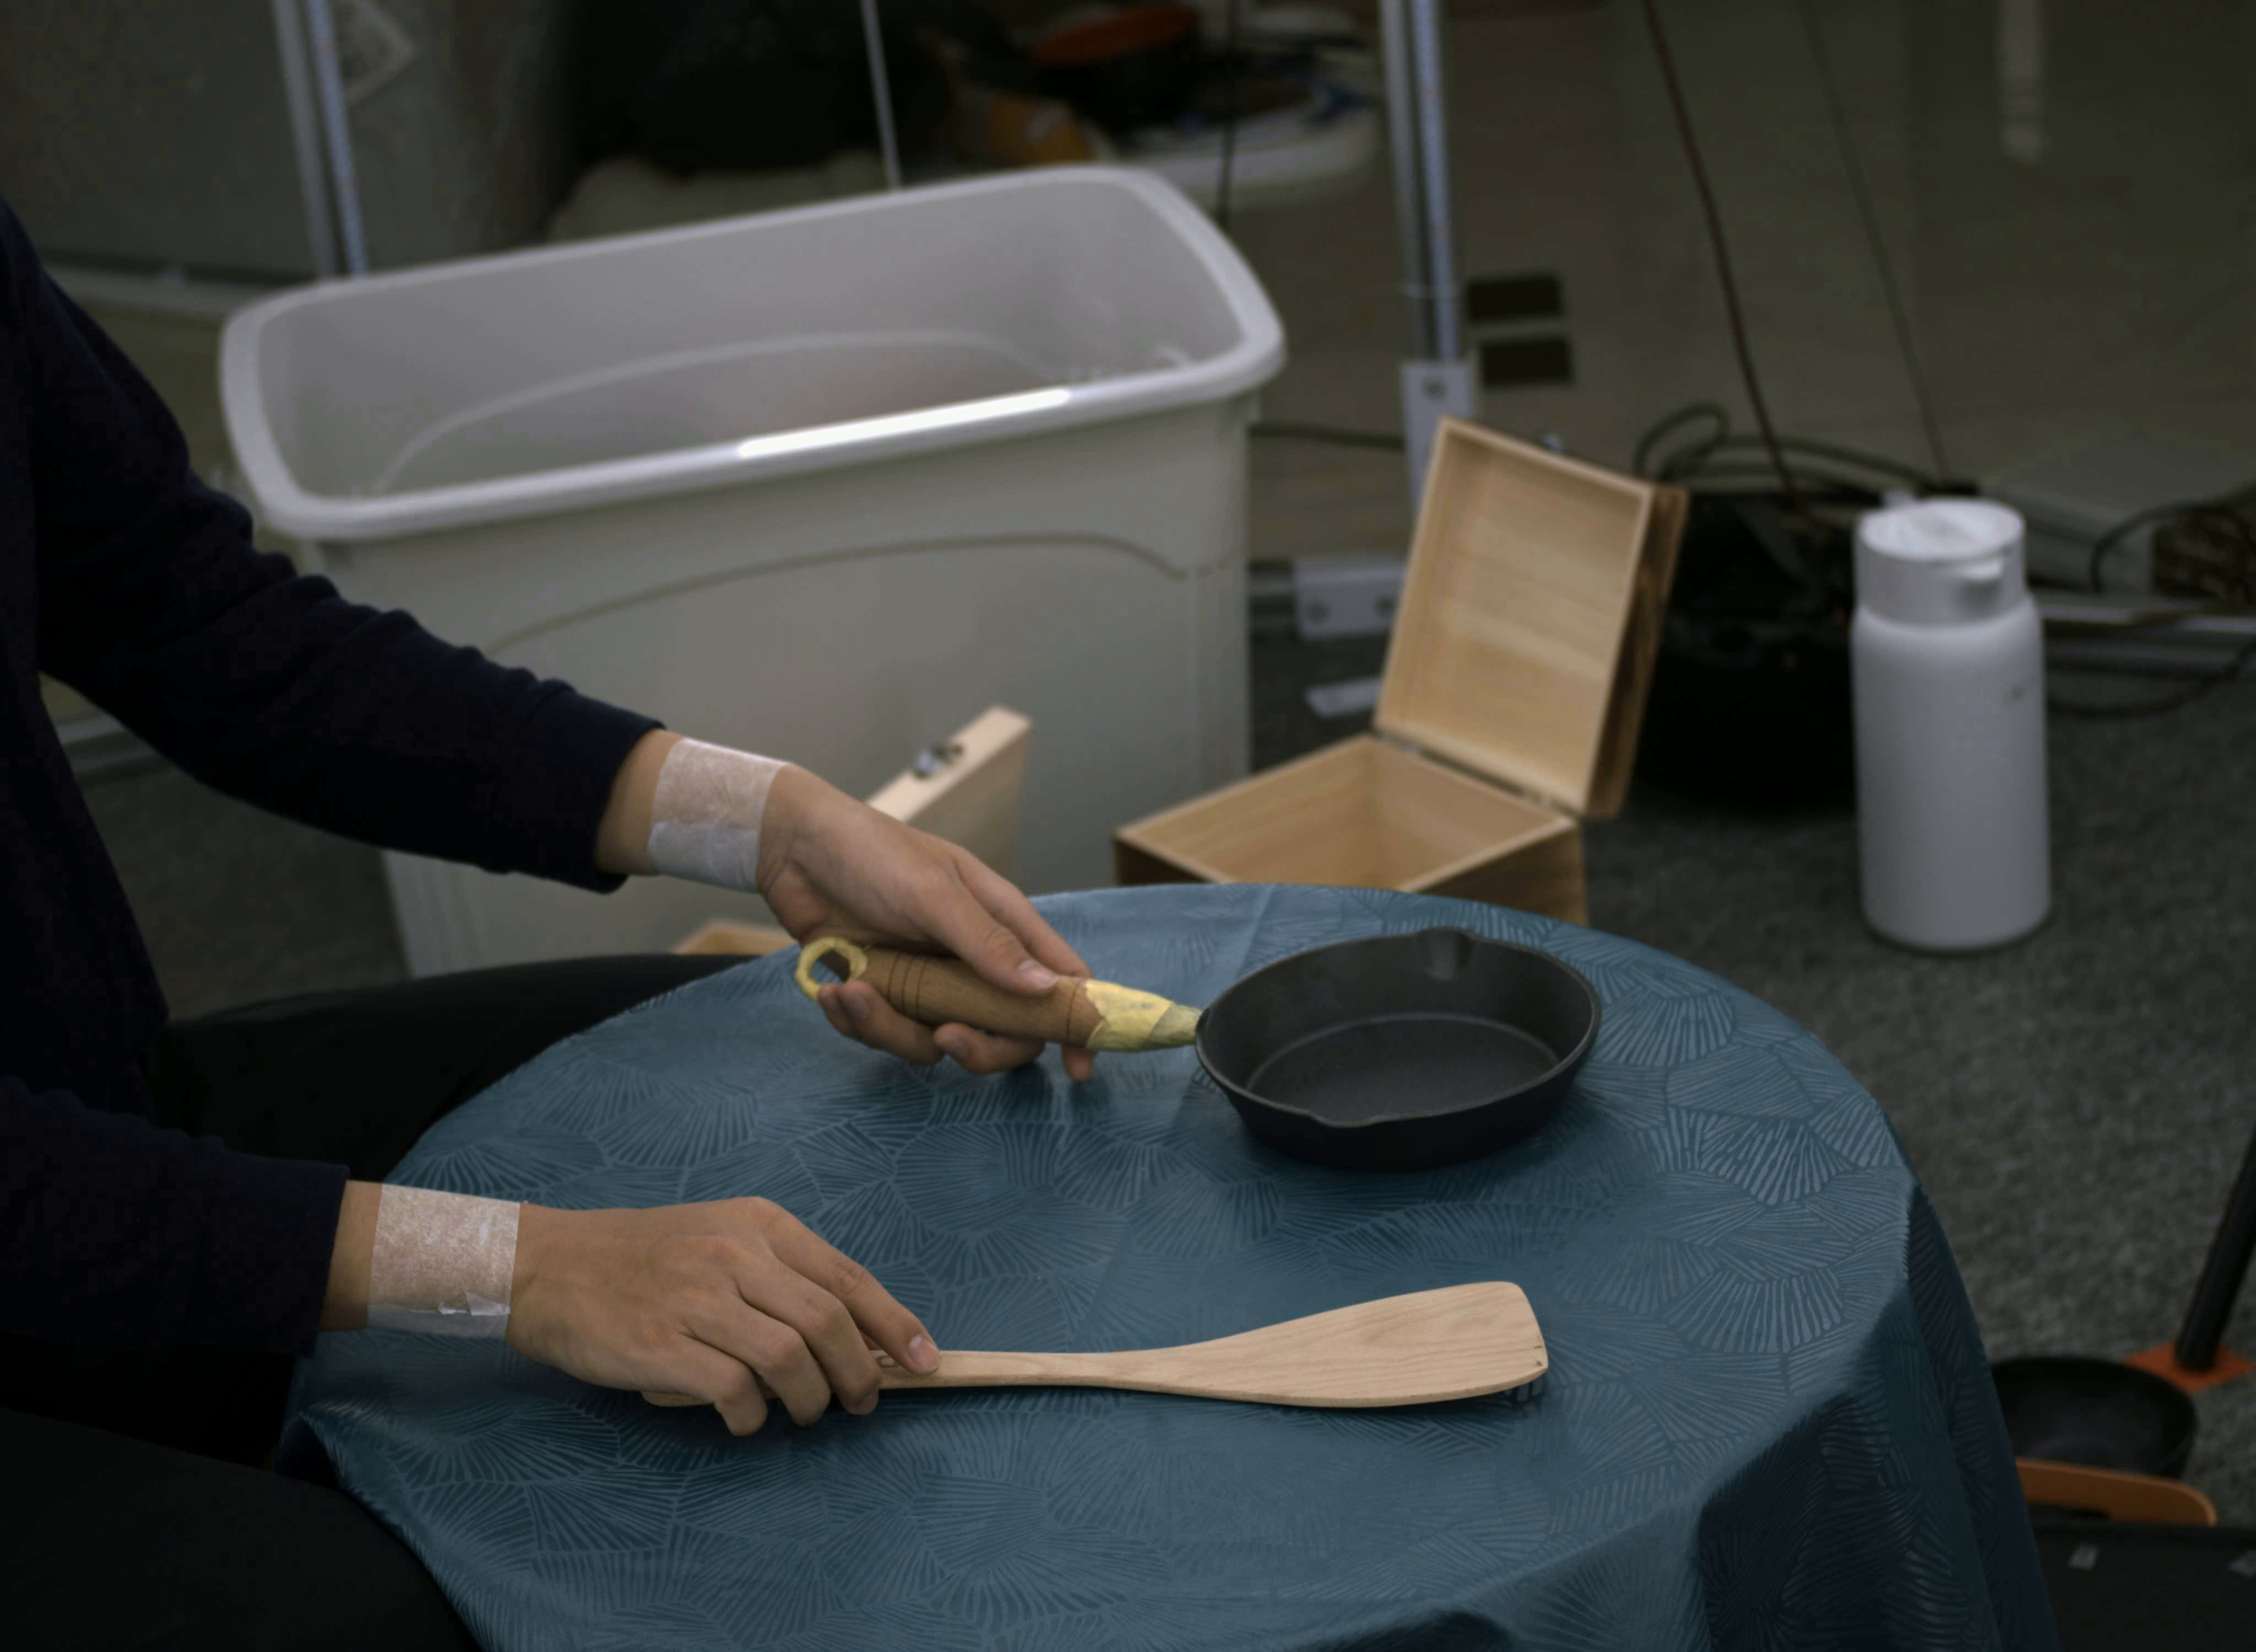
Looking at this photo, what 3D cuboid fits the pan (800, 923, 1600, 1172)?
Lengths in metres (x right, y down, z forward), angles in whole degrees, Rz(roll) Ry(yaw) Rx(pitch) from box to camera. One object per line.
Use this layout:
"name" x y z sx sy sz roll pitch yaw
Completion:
"pan" 0.025 0.078 2.212 0.323 0.050 0.166 4 27 19

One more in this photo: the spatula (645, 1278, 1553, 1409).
"spatula" -0.011 0.189 2.022 0.327 0.017 0.079 -3 23 6
